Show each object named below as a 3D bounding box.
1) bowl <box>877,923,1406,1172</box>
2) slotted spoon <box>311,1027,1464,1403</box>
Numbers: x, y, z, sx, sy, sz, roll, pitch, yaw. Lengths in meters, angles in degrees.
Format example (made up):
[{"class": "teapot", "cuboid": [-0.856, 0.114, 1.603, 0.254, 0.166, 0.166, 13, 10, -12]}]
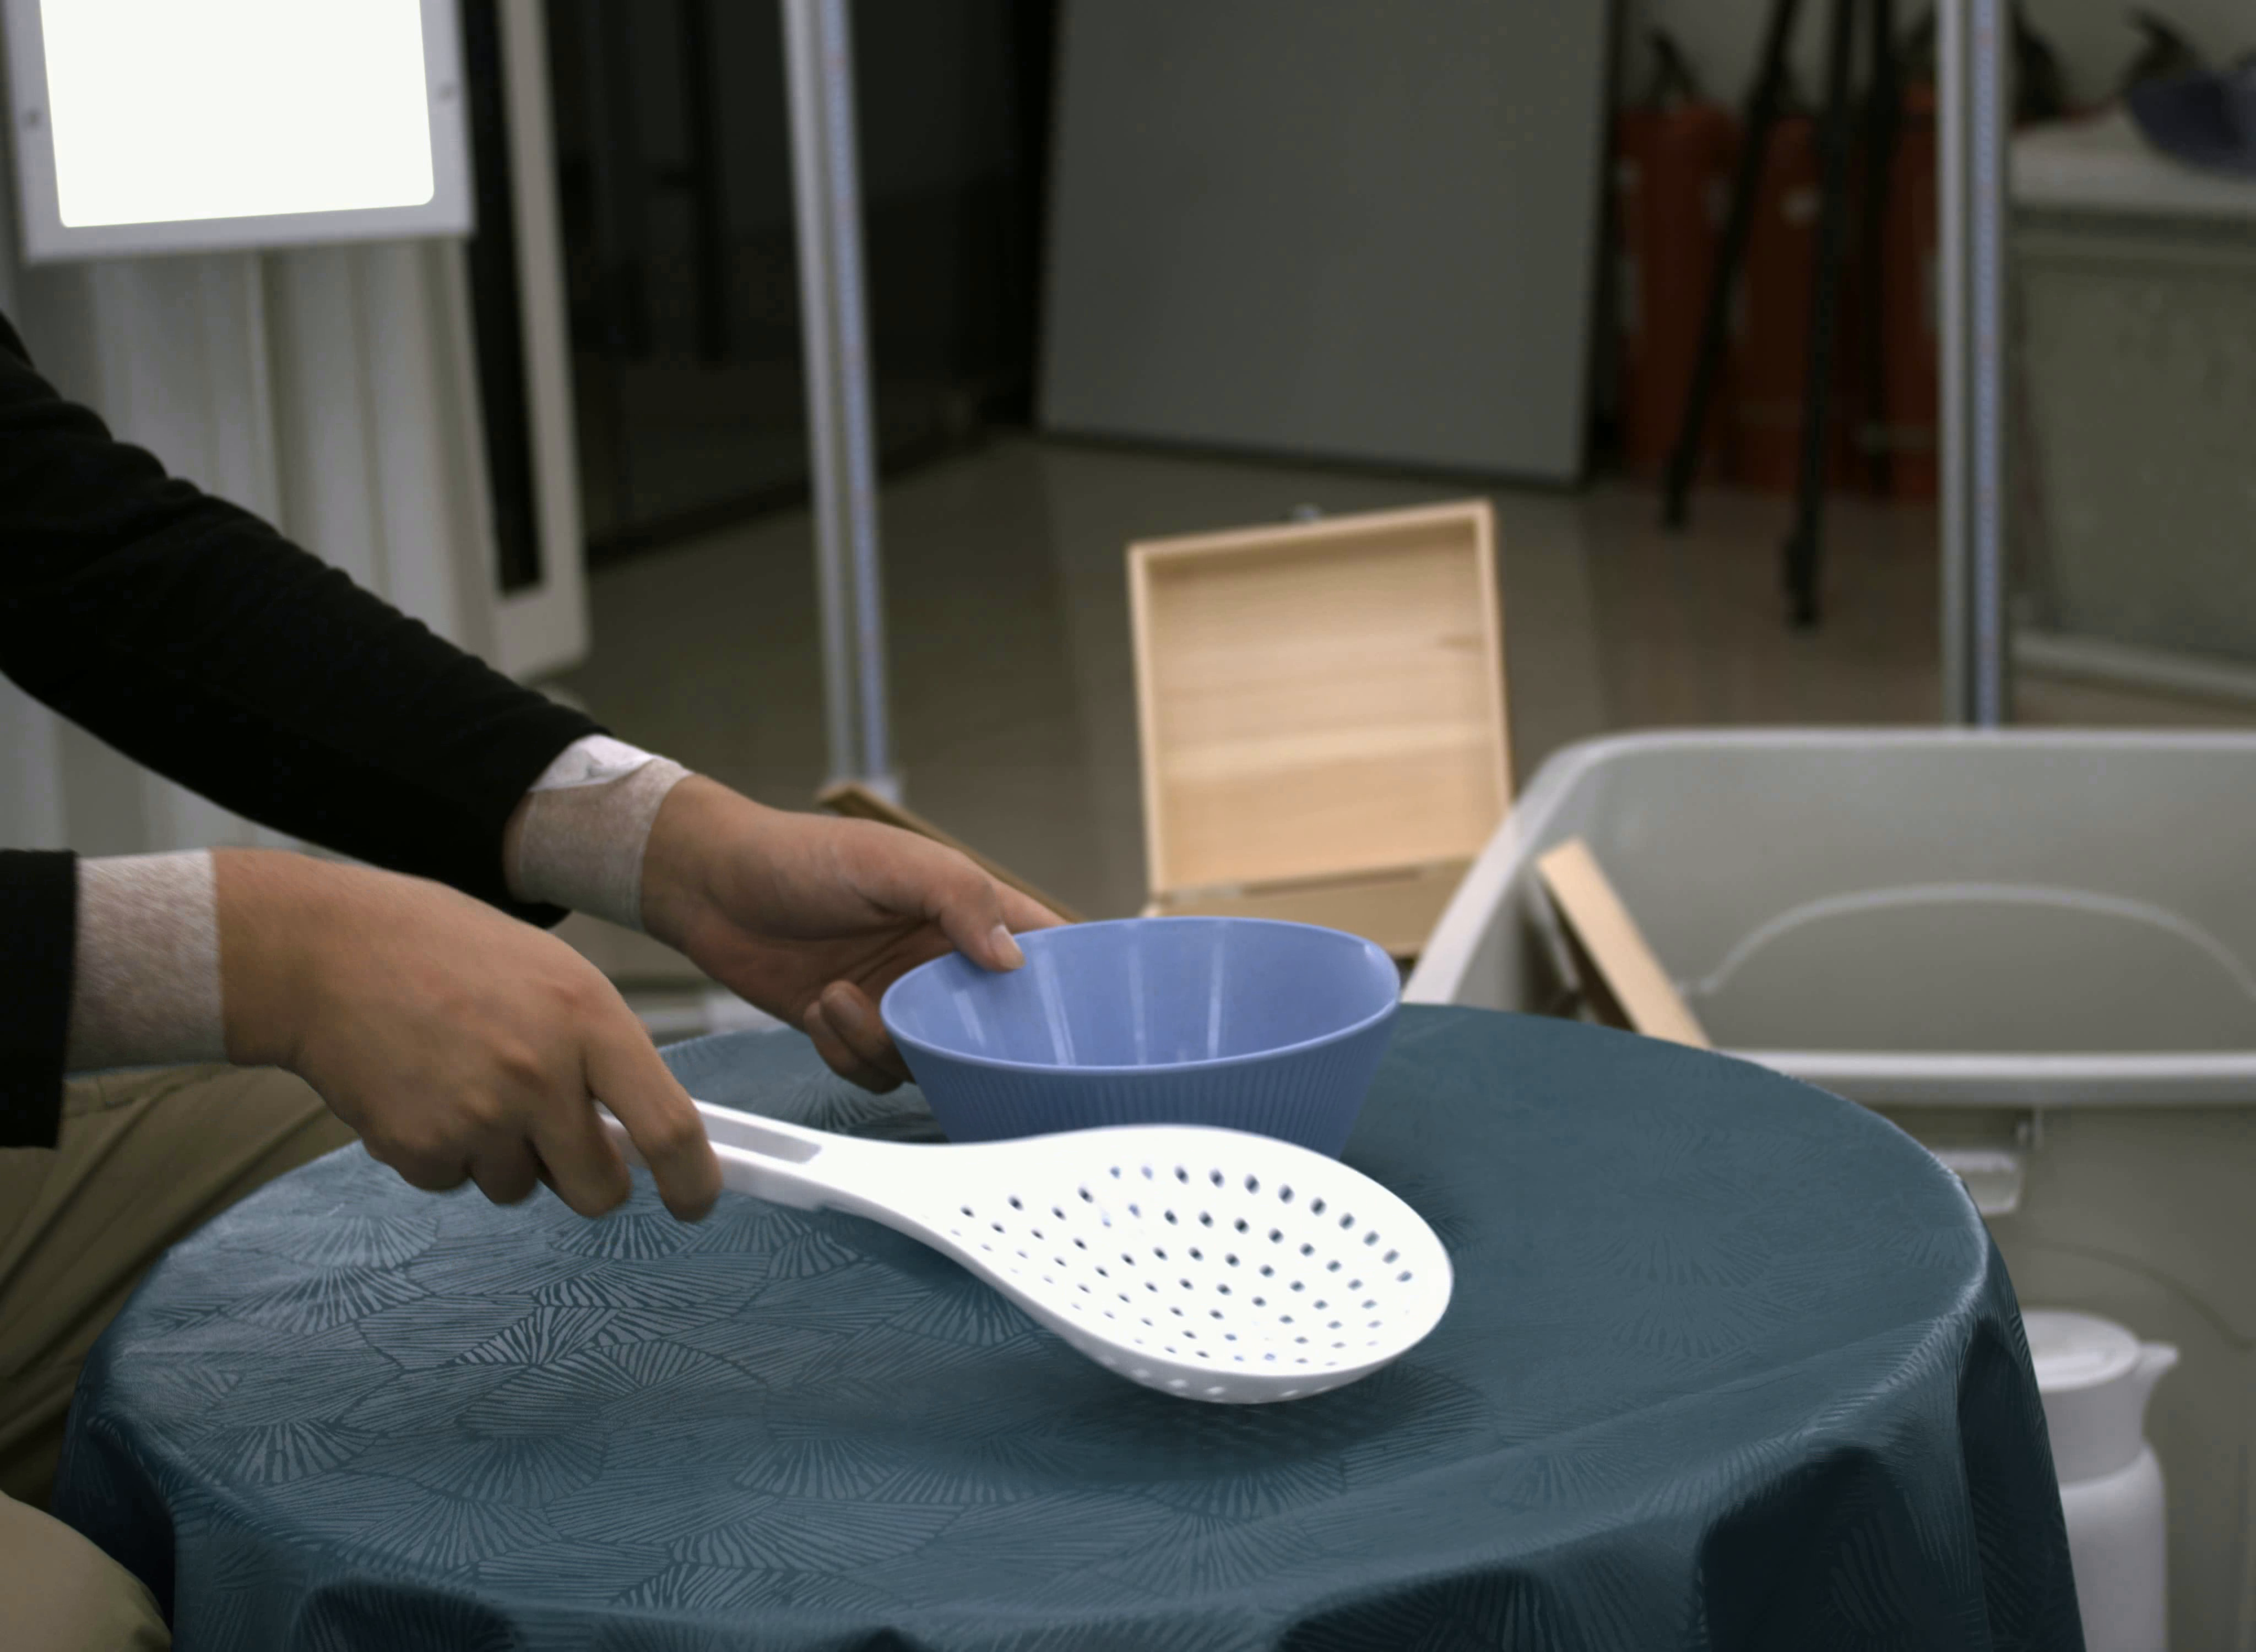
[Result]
[{"class": "bowl", "cuboid": [0.007, 0.085, 1.769, 0.174, 0.071, 0.176, -5, 13, 0]}, {"class": "slotted spoon", "cuboid": [-0.073, 0.106, 1.587, 0.347, 0.046, 0.135, 16, 26, 7]}]
